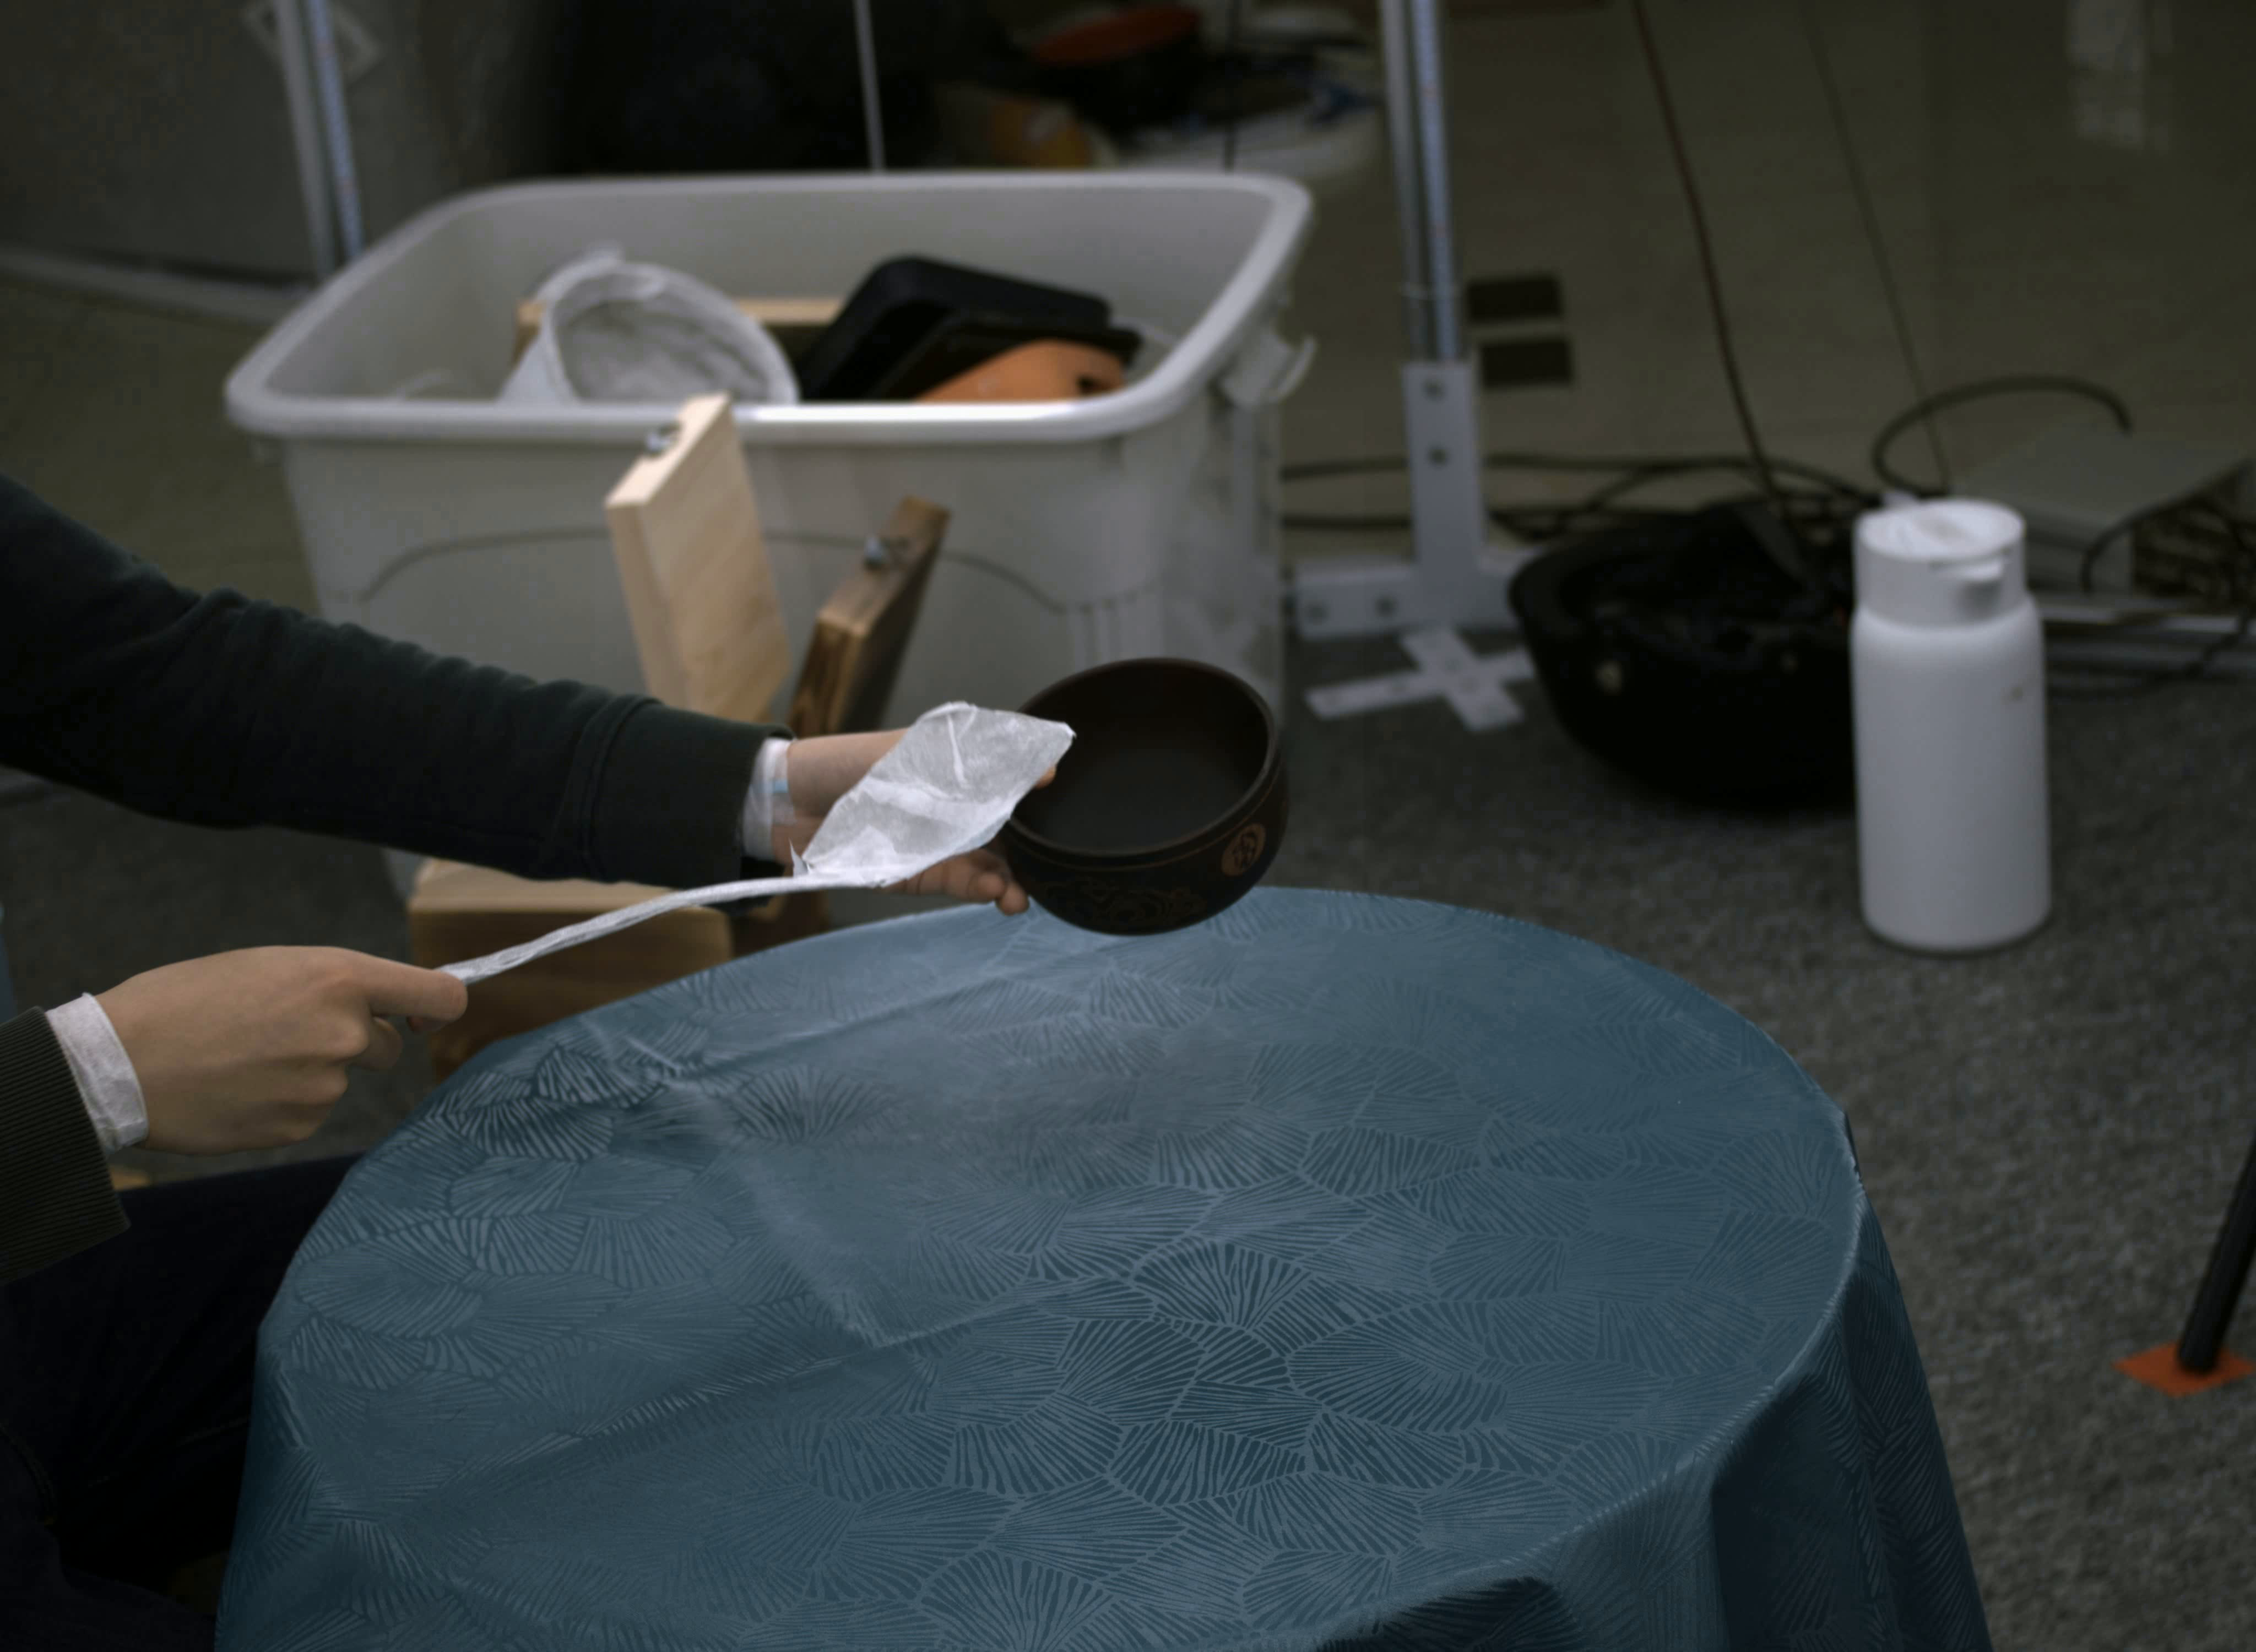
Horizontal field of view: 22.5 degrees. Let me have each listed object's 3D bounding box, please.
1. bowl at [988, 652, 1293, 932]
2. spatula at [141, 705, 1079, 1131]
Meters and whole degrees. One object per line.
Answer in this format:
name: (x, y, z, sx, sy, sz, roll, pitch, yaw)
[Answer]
bowl: (0.007, -0.005, 2.188, 0.118, 0.071, 0.116, -8, 42, 7)
spatula: (-0.179, 0.031, 1.973, 0.363, 0.045, 0.098, -19, 21, -29)
